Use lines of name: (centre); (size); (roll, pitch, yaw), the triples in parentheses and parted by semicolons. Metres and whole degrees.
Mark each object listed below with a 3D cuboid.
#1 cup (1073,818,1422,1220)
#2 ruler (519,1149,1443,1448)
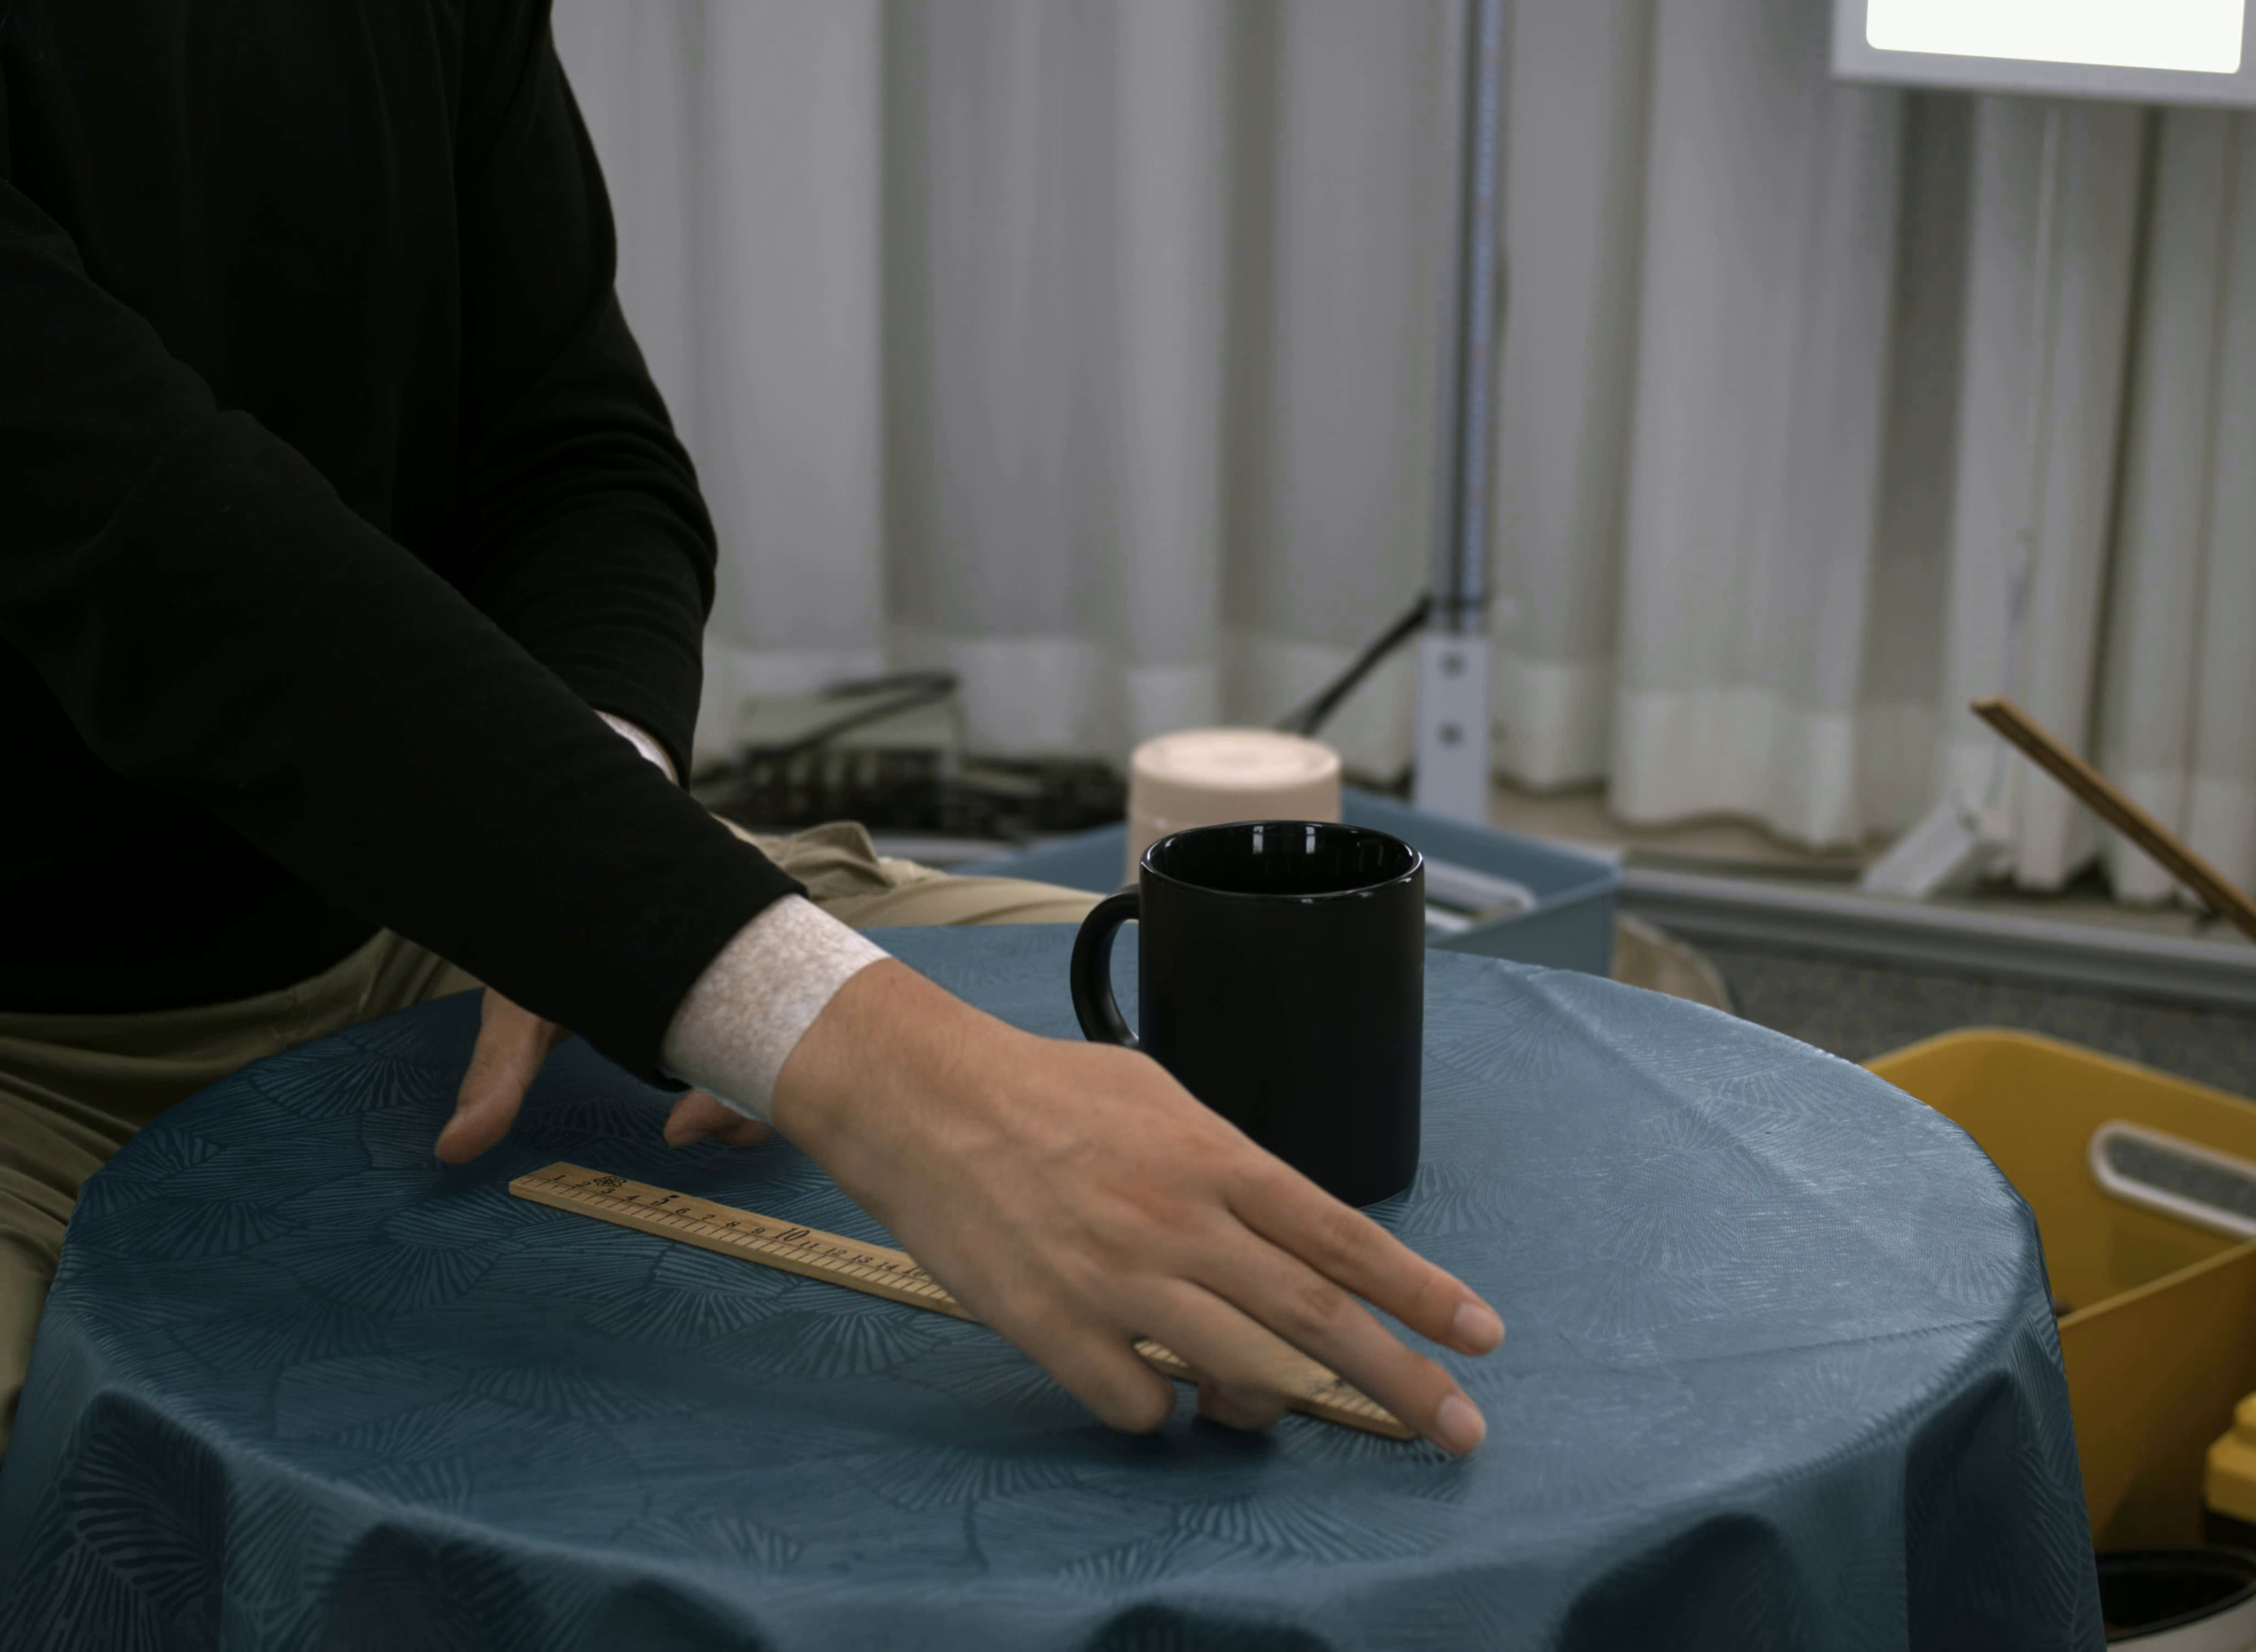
cup: (0.033, 0.056, 1.635); (0.122, 0.106, 0.089); (12, 21, 37)
ruler: (-0.051, 0.132, 1.529); (0.327, 0.022, 0.027); (13, 16, 36)
